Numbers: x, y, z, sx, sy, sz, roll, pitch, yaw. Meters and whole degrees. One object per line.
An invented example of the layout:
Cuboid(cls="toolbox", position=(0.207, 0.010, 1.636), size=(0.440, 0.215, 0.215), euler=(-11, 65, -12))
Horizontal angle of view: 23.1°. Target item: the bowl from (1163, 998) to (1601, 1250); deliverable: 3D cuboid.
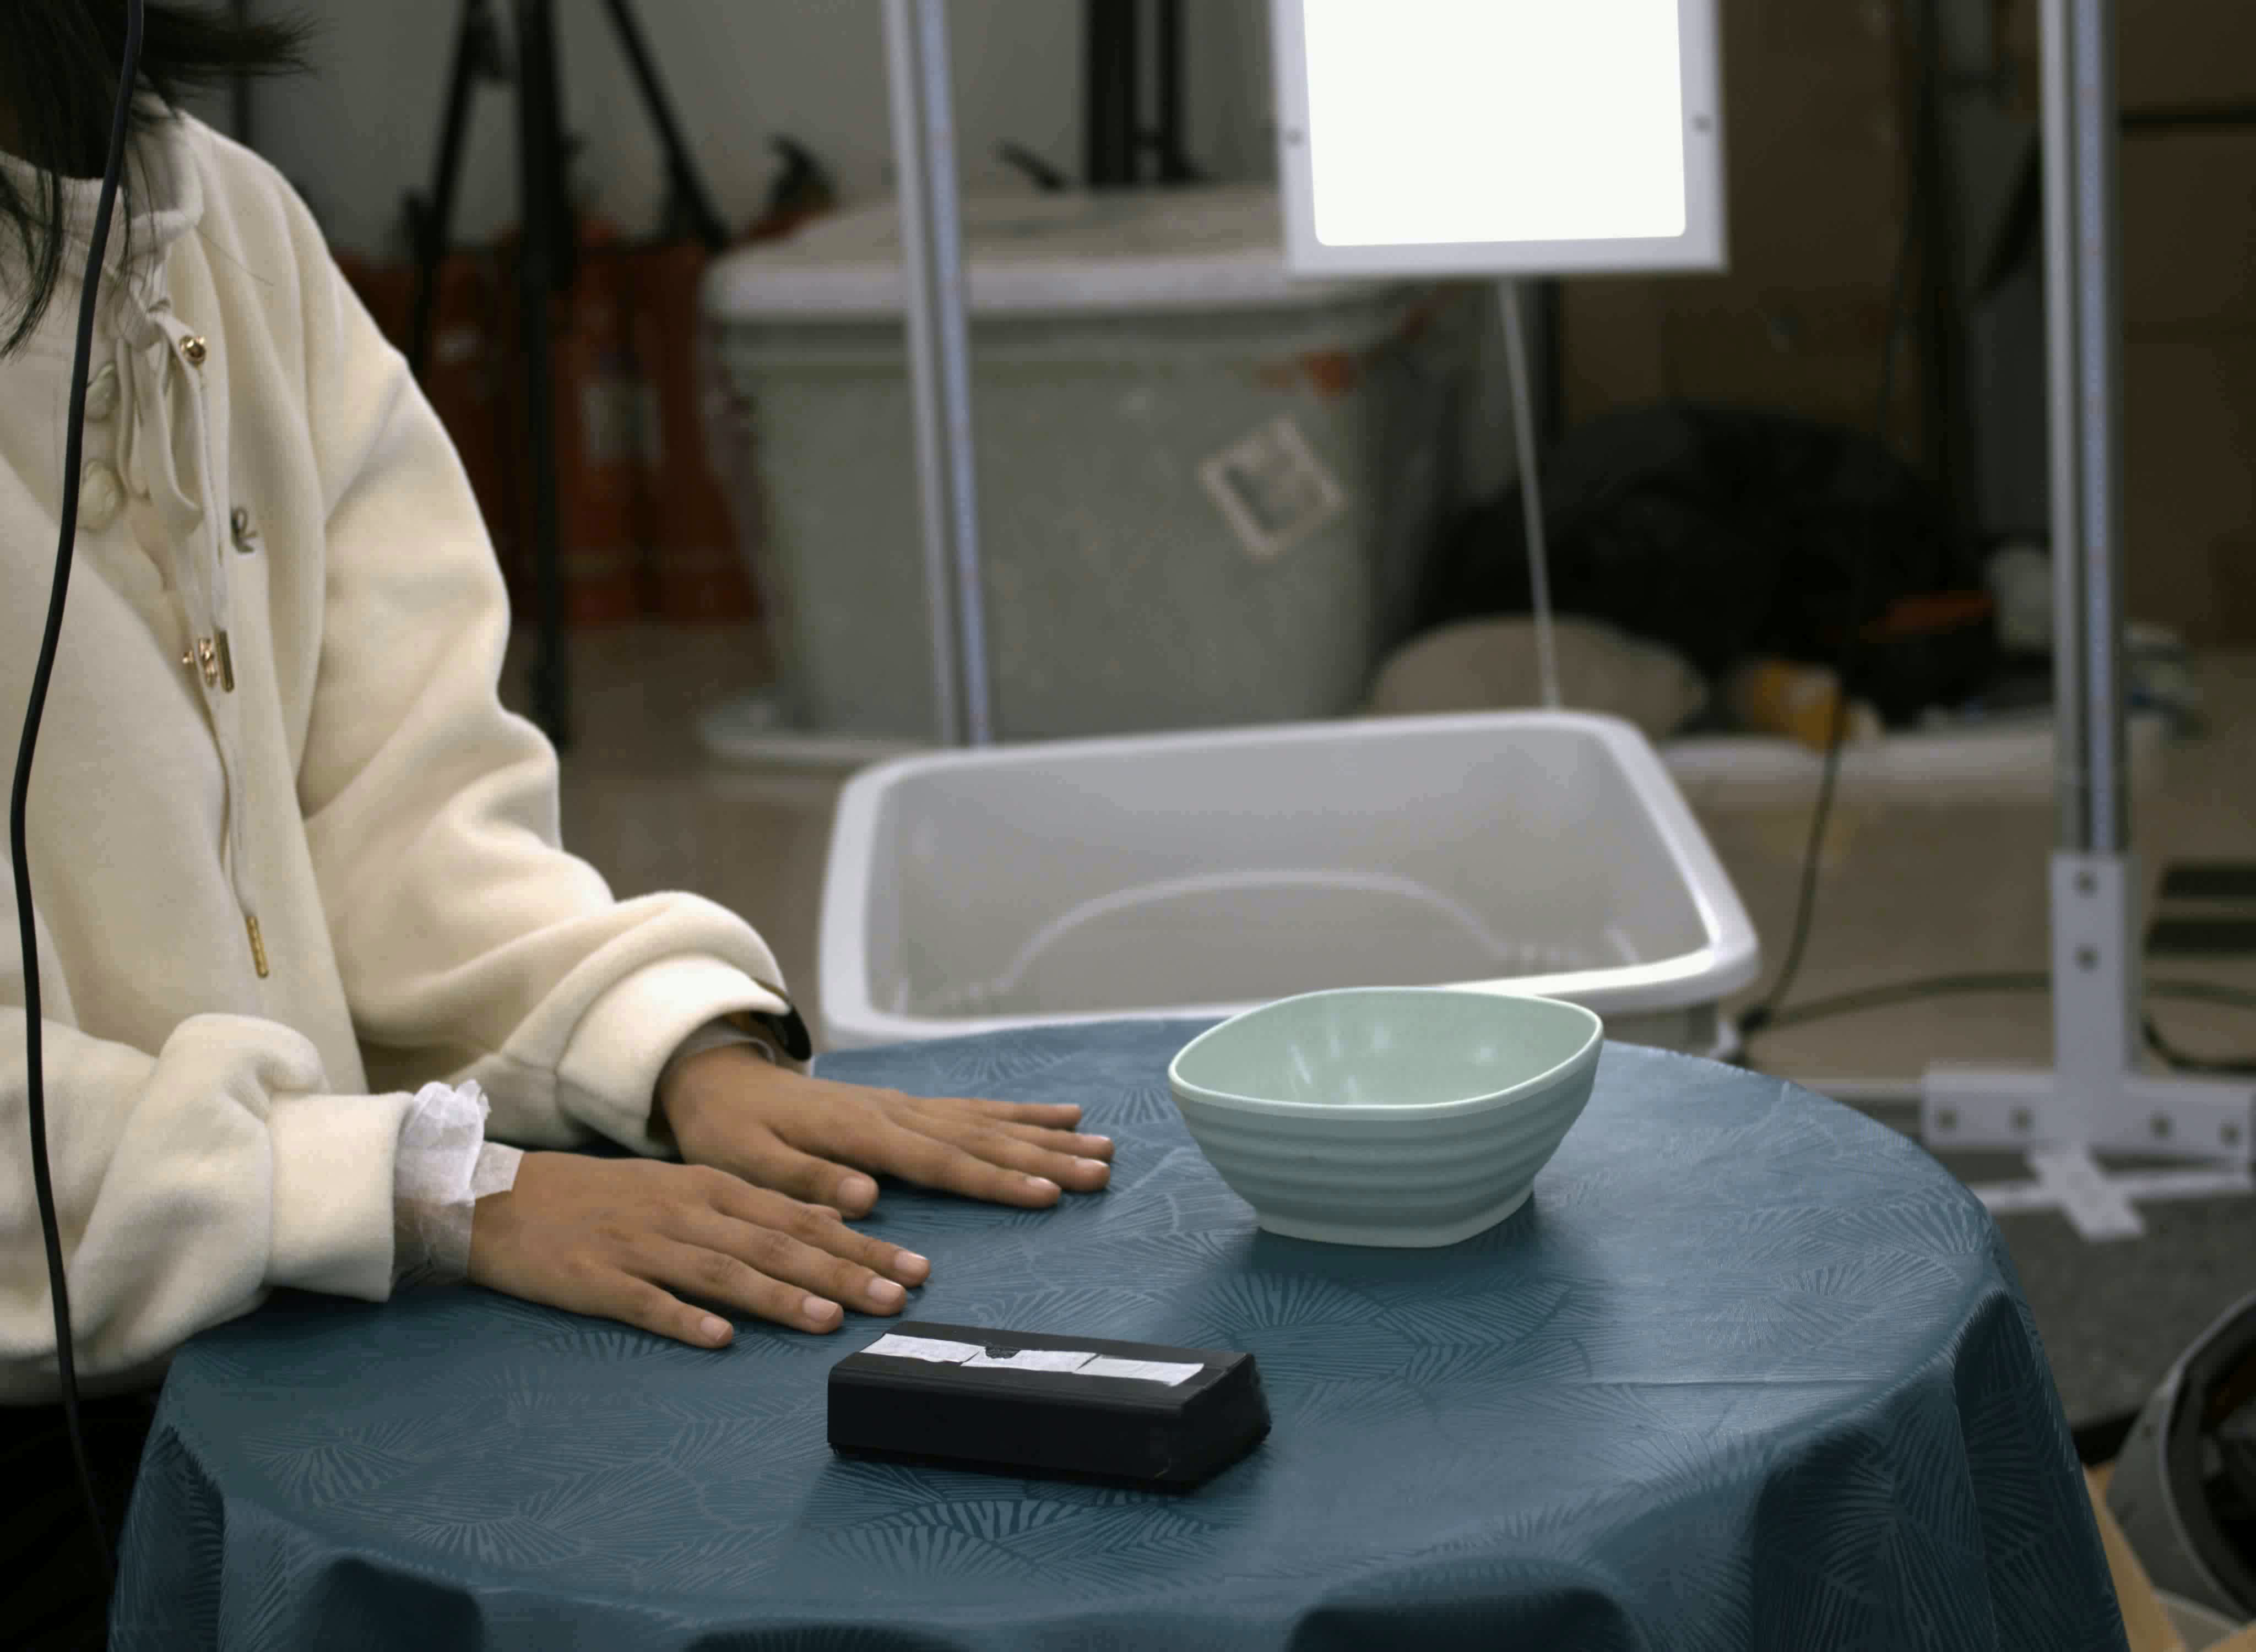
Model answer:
Cuboid(cls="bowl", position=(0.087, 0.102, 1.848), size=(0.151, 0.059, 0.151), euler=(-3, 12, -1))

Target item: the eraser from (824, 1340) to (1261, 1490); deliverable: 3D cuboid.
Cuboid(cls="eraser", position=(-0.024, 0.176, 1.652), size=(0.128, 0.030, 0.052), euler=(0, 13, 29))
